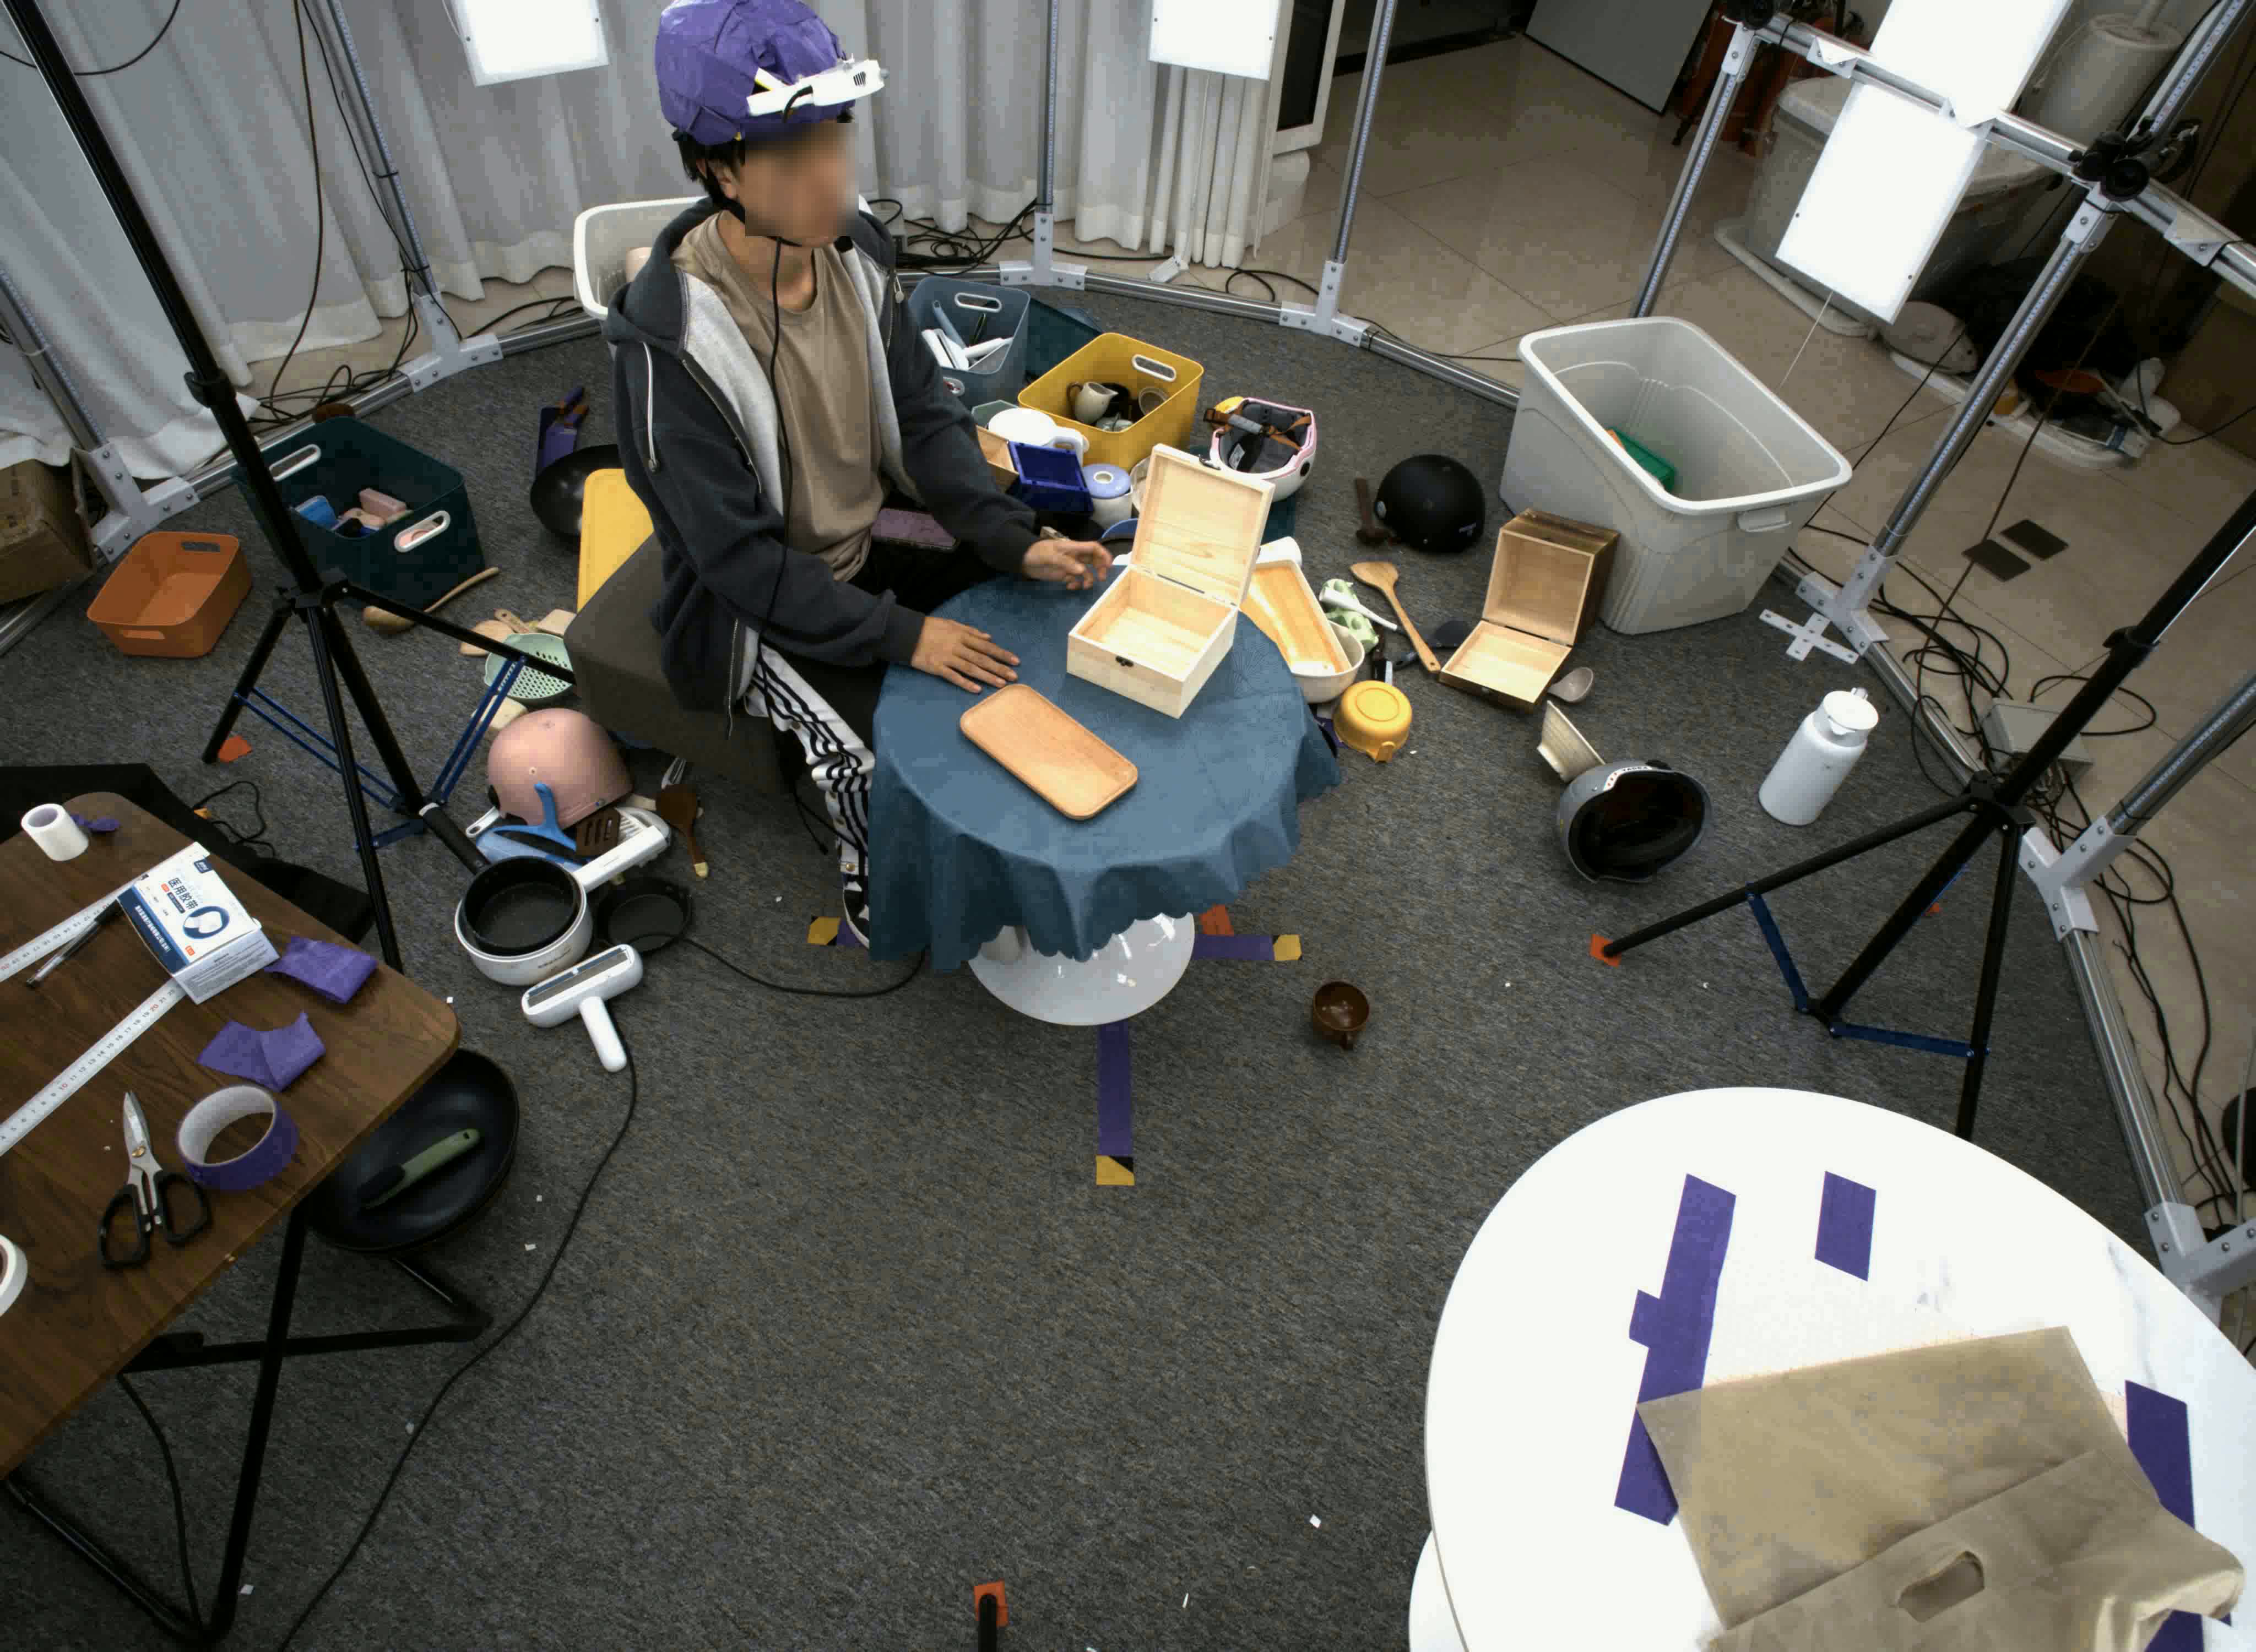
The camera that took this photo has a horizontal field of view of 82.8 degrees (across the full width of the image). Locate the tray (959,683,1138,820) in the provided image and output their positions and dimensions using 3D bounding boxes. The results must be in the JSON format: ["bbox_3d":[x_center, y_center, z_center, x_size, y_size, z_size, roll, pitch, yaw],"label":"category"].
[{"bbox_3d":[-0.109,-0.103,1.736,0.254,0.022,0.132,38,54,26],"label":"tray"}]

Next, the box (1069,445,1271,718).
[{"bbox_3d":[0.056,-0.347,1.815,0.183,0.247,0.269,22,50,17],"label":"box"}]
